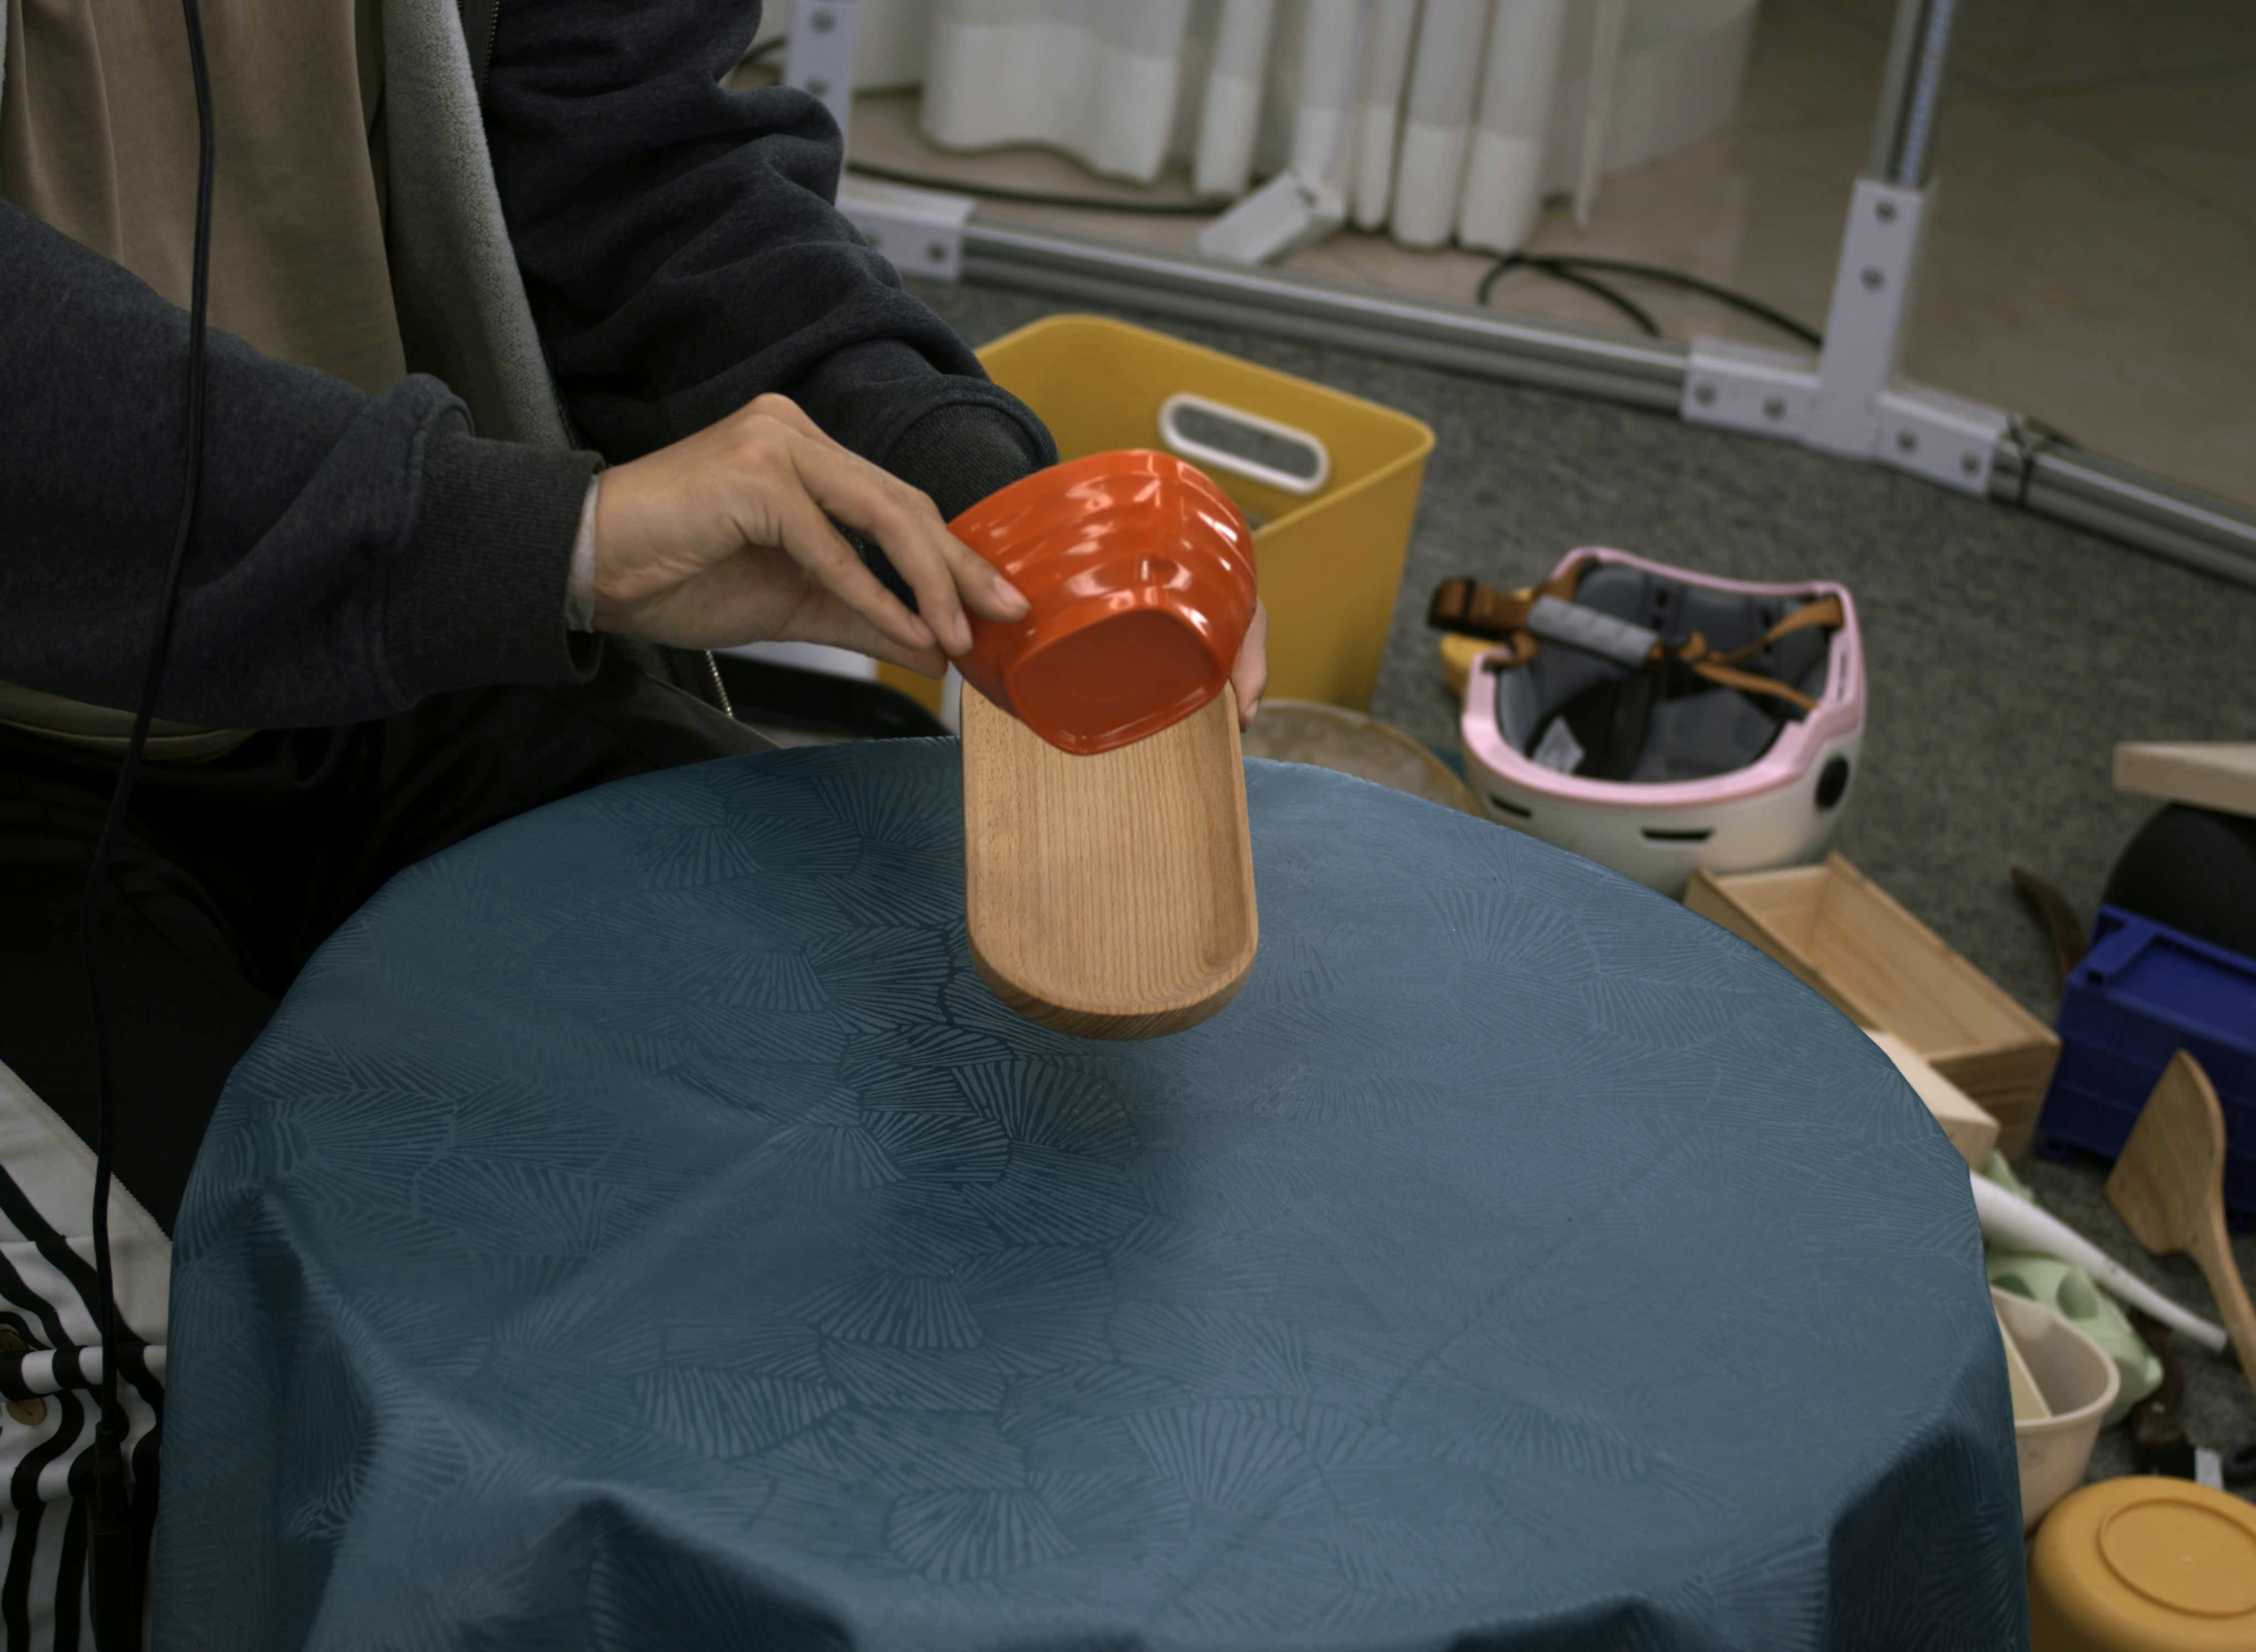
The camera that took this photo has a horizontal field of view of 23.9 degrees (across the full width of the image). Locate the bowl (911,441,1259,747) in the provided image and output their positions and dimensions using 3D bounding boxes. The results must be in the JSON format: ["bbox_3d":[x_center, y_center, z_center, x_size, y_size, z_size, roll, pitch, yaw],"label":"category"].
[{"bbox_3d":[-0.010,-0.068,1.740,0.118,0.118,0.052,-1,53,-17],"label":"bowl"}]

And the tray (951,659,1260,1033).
[{"bbox_3d":[-0.010,-0.003,1.871,0.101,0.020,0.233,1,35,-5],"label":"tray"}]
